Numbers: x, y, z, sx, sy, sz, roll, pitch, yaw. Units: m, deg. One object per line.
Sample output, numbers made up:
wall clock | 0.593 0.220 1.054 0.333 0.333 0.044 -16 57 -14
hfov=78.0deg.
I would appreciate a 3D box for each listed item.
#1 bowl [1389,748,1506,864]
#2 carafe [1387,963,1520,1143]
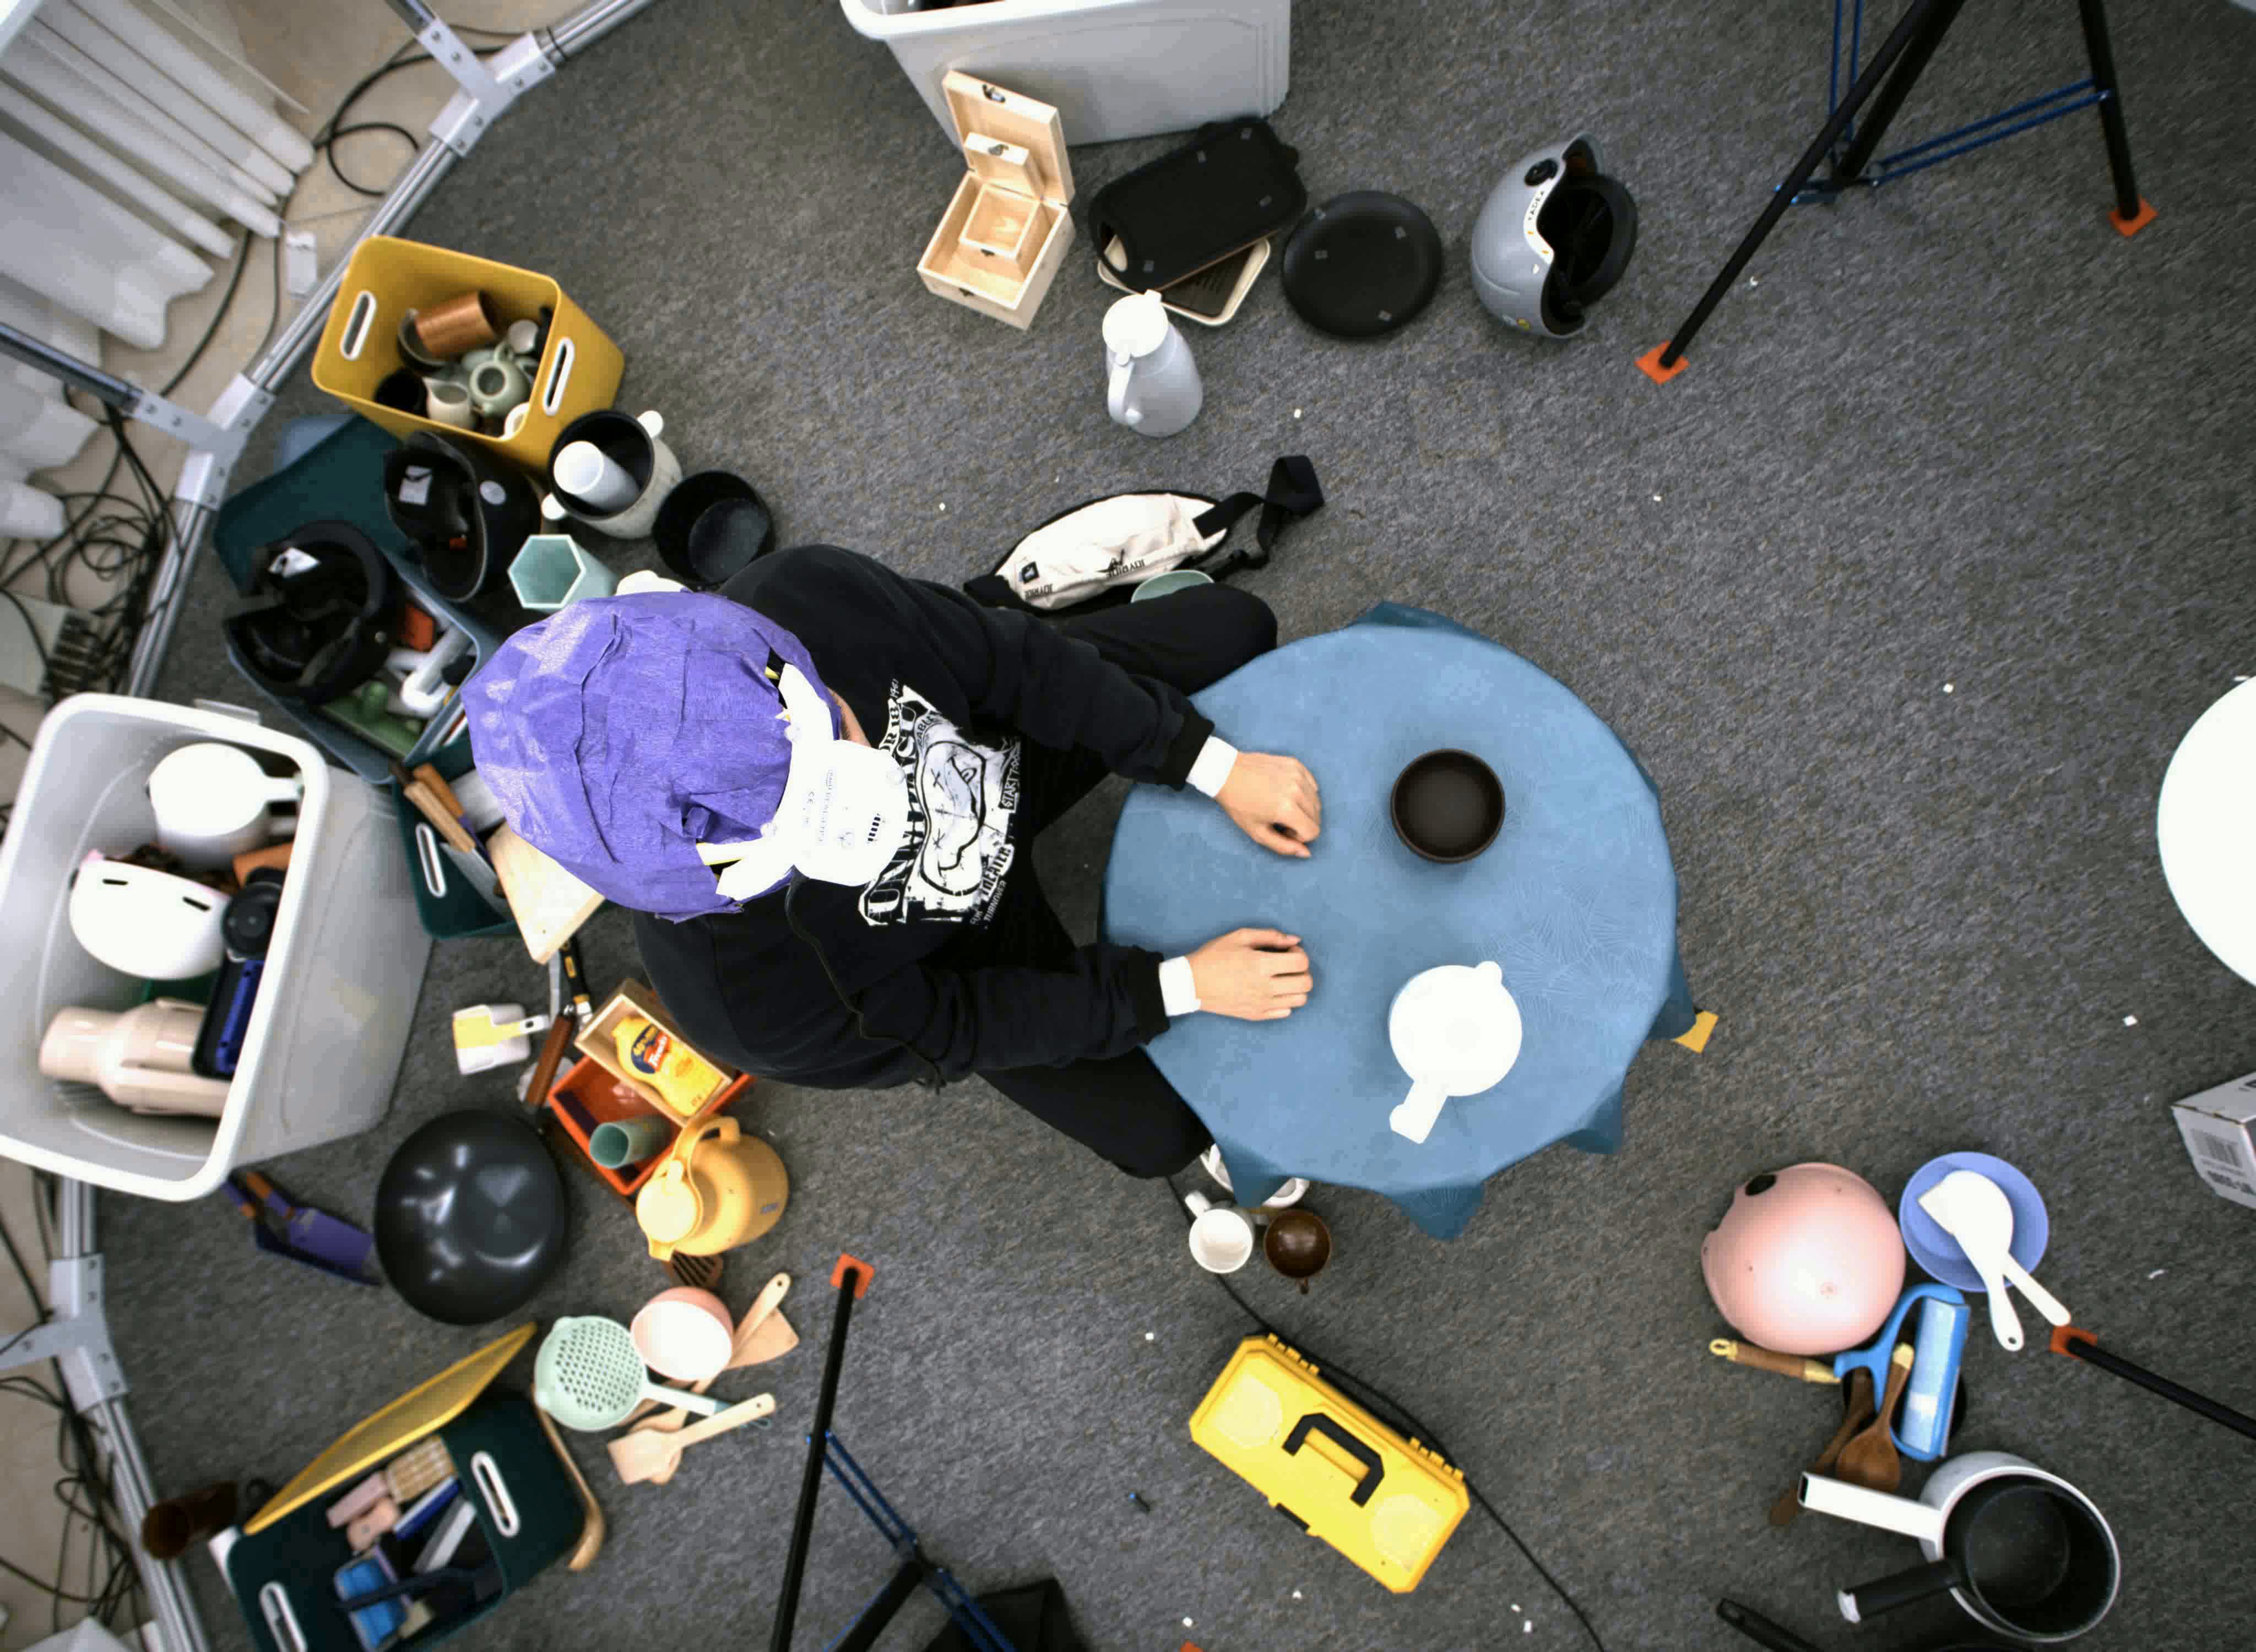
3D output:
bowl | 0.328 -0.020 1.417 0.118 0.070 0.117 -1 87 11
carafe | 0.300 0.207 1.314 0.124 0.269 0.173 25 90 10
